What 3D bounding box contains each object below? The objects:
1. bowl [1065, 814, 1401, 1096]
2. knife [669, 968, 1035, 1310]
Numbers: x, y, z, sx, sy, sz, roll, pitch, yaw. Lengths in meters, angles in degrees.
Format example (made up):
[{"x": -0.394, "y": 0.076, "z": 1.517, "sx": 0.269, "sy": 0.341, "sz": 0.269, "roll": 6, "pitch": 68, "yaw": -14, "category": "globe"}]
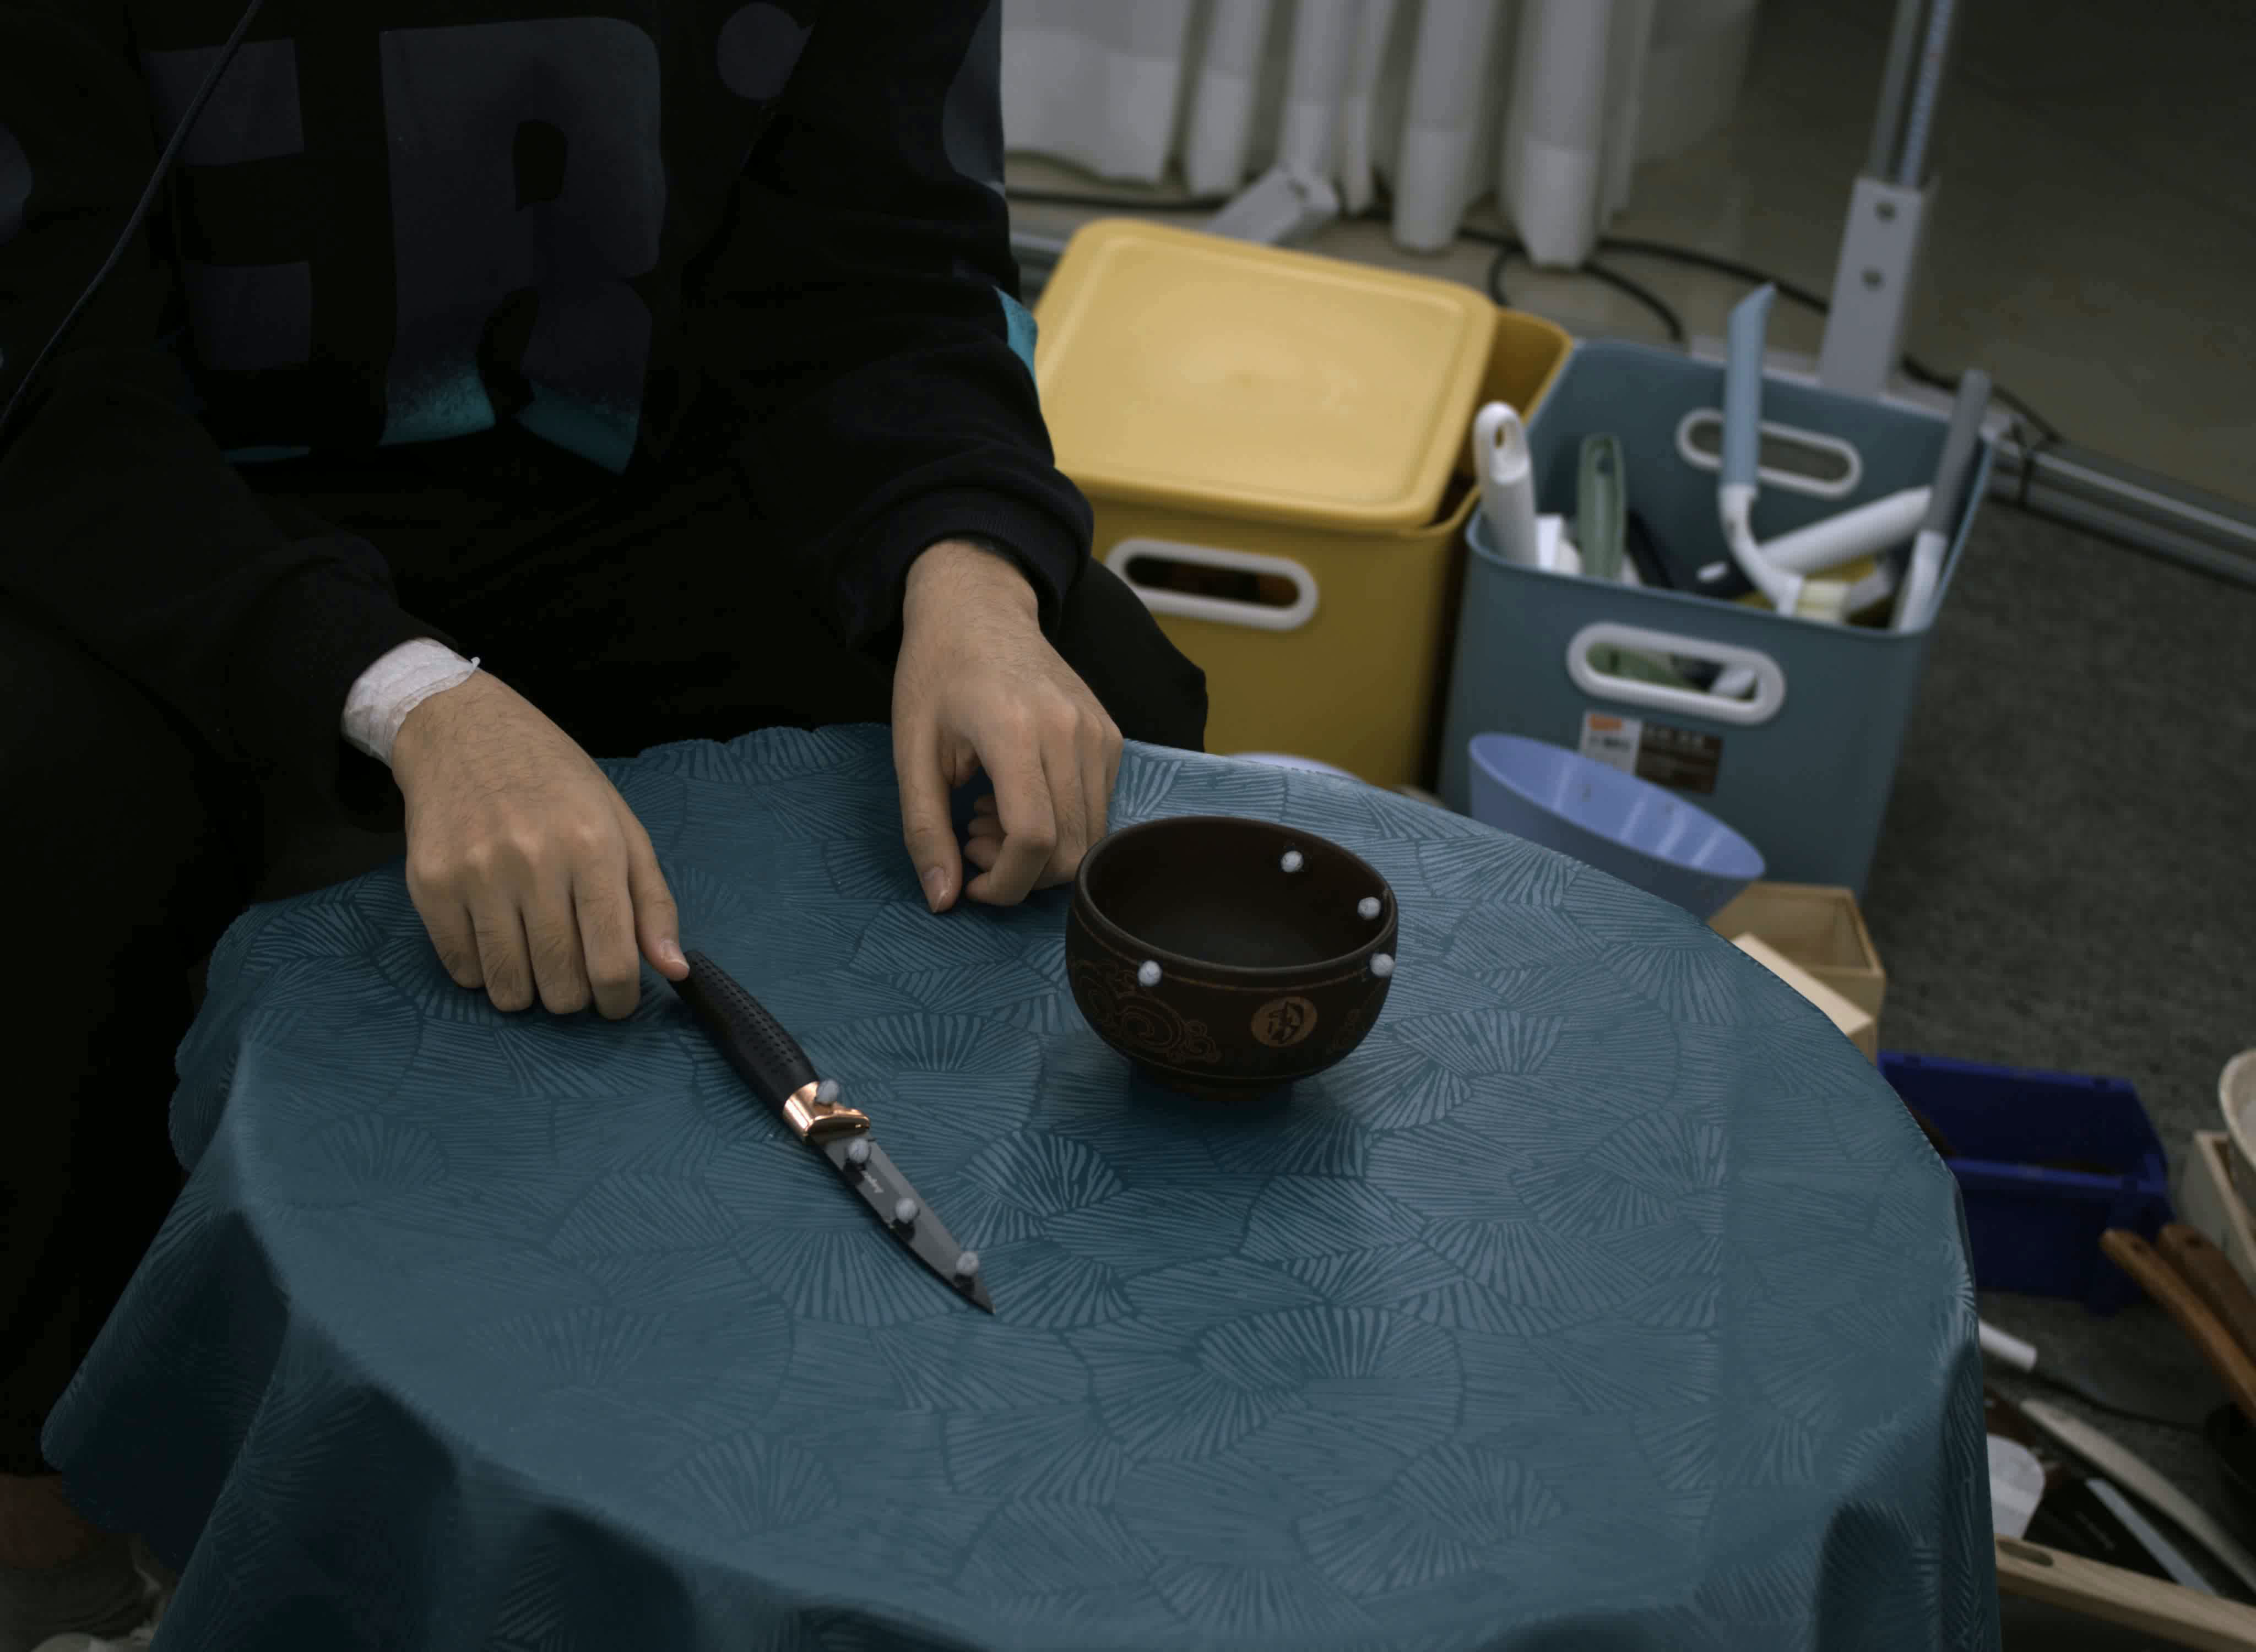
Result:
[{"x": 0.035, "y": 0.051, "z": 1.870, "sx": 0.117, "sy": 0.069, "sz": 0.118, "roll": 5, "pitch": 25, "yaw": -3, "category": "bowl"}, {"x": -0.096, "y": 0.105, "z": 1.805, "sx": 0.026, "sy": 0.017, "sz": 0.227, "roll": -4, "pitch": 29, "yaw": -35, "category": "knife"}]
